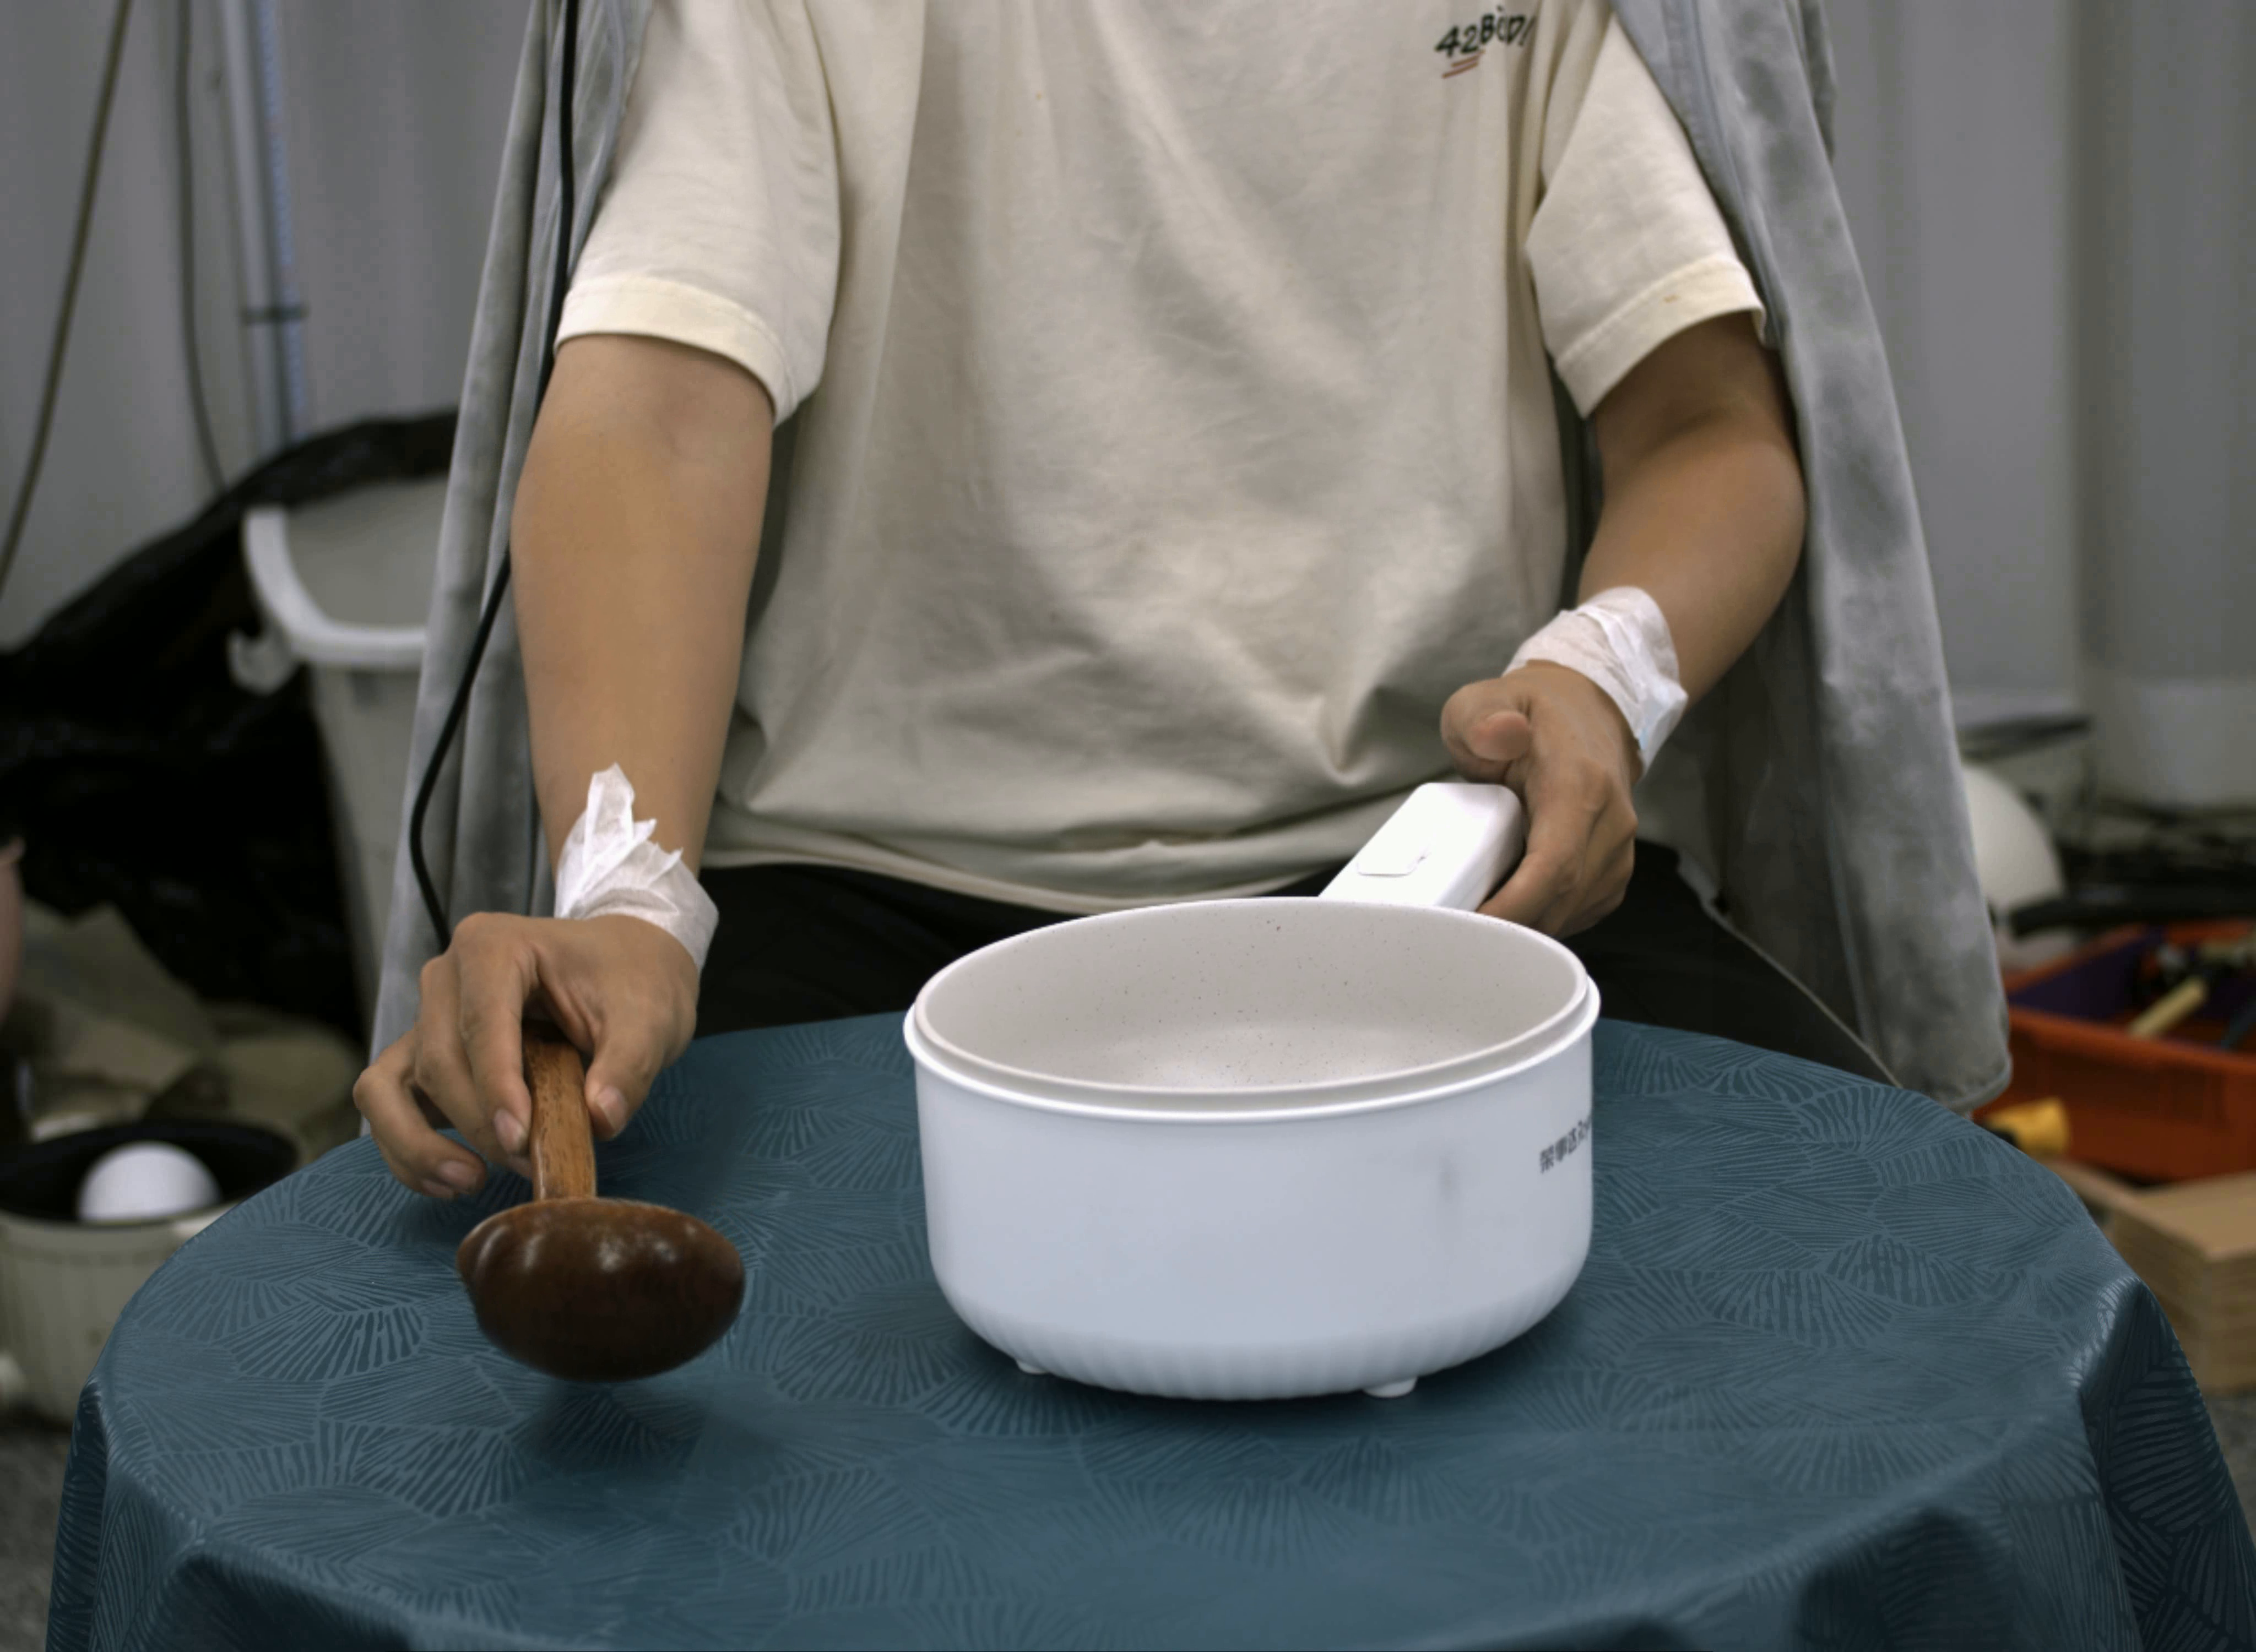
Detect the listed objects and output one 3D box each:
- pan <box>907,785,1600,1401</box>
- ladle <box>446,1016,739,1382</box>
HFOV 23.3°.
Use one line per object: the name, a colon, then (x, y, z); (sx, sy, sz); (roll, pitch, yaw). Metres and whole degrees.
pan: (0.062, 0.076, 1.660); (0.201, 0.102, 0.356); (1, 15, 18)
ladle: (-0.161, 0.088, 1.618); (0.081, 0.076, 0.277); (15, 20, -12)
